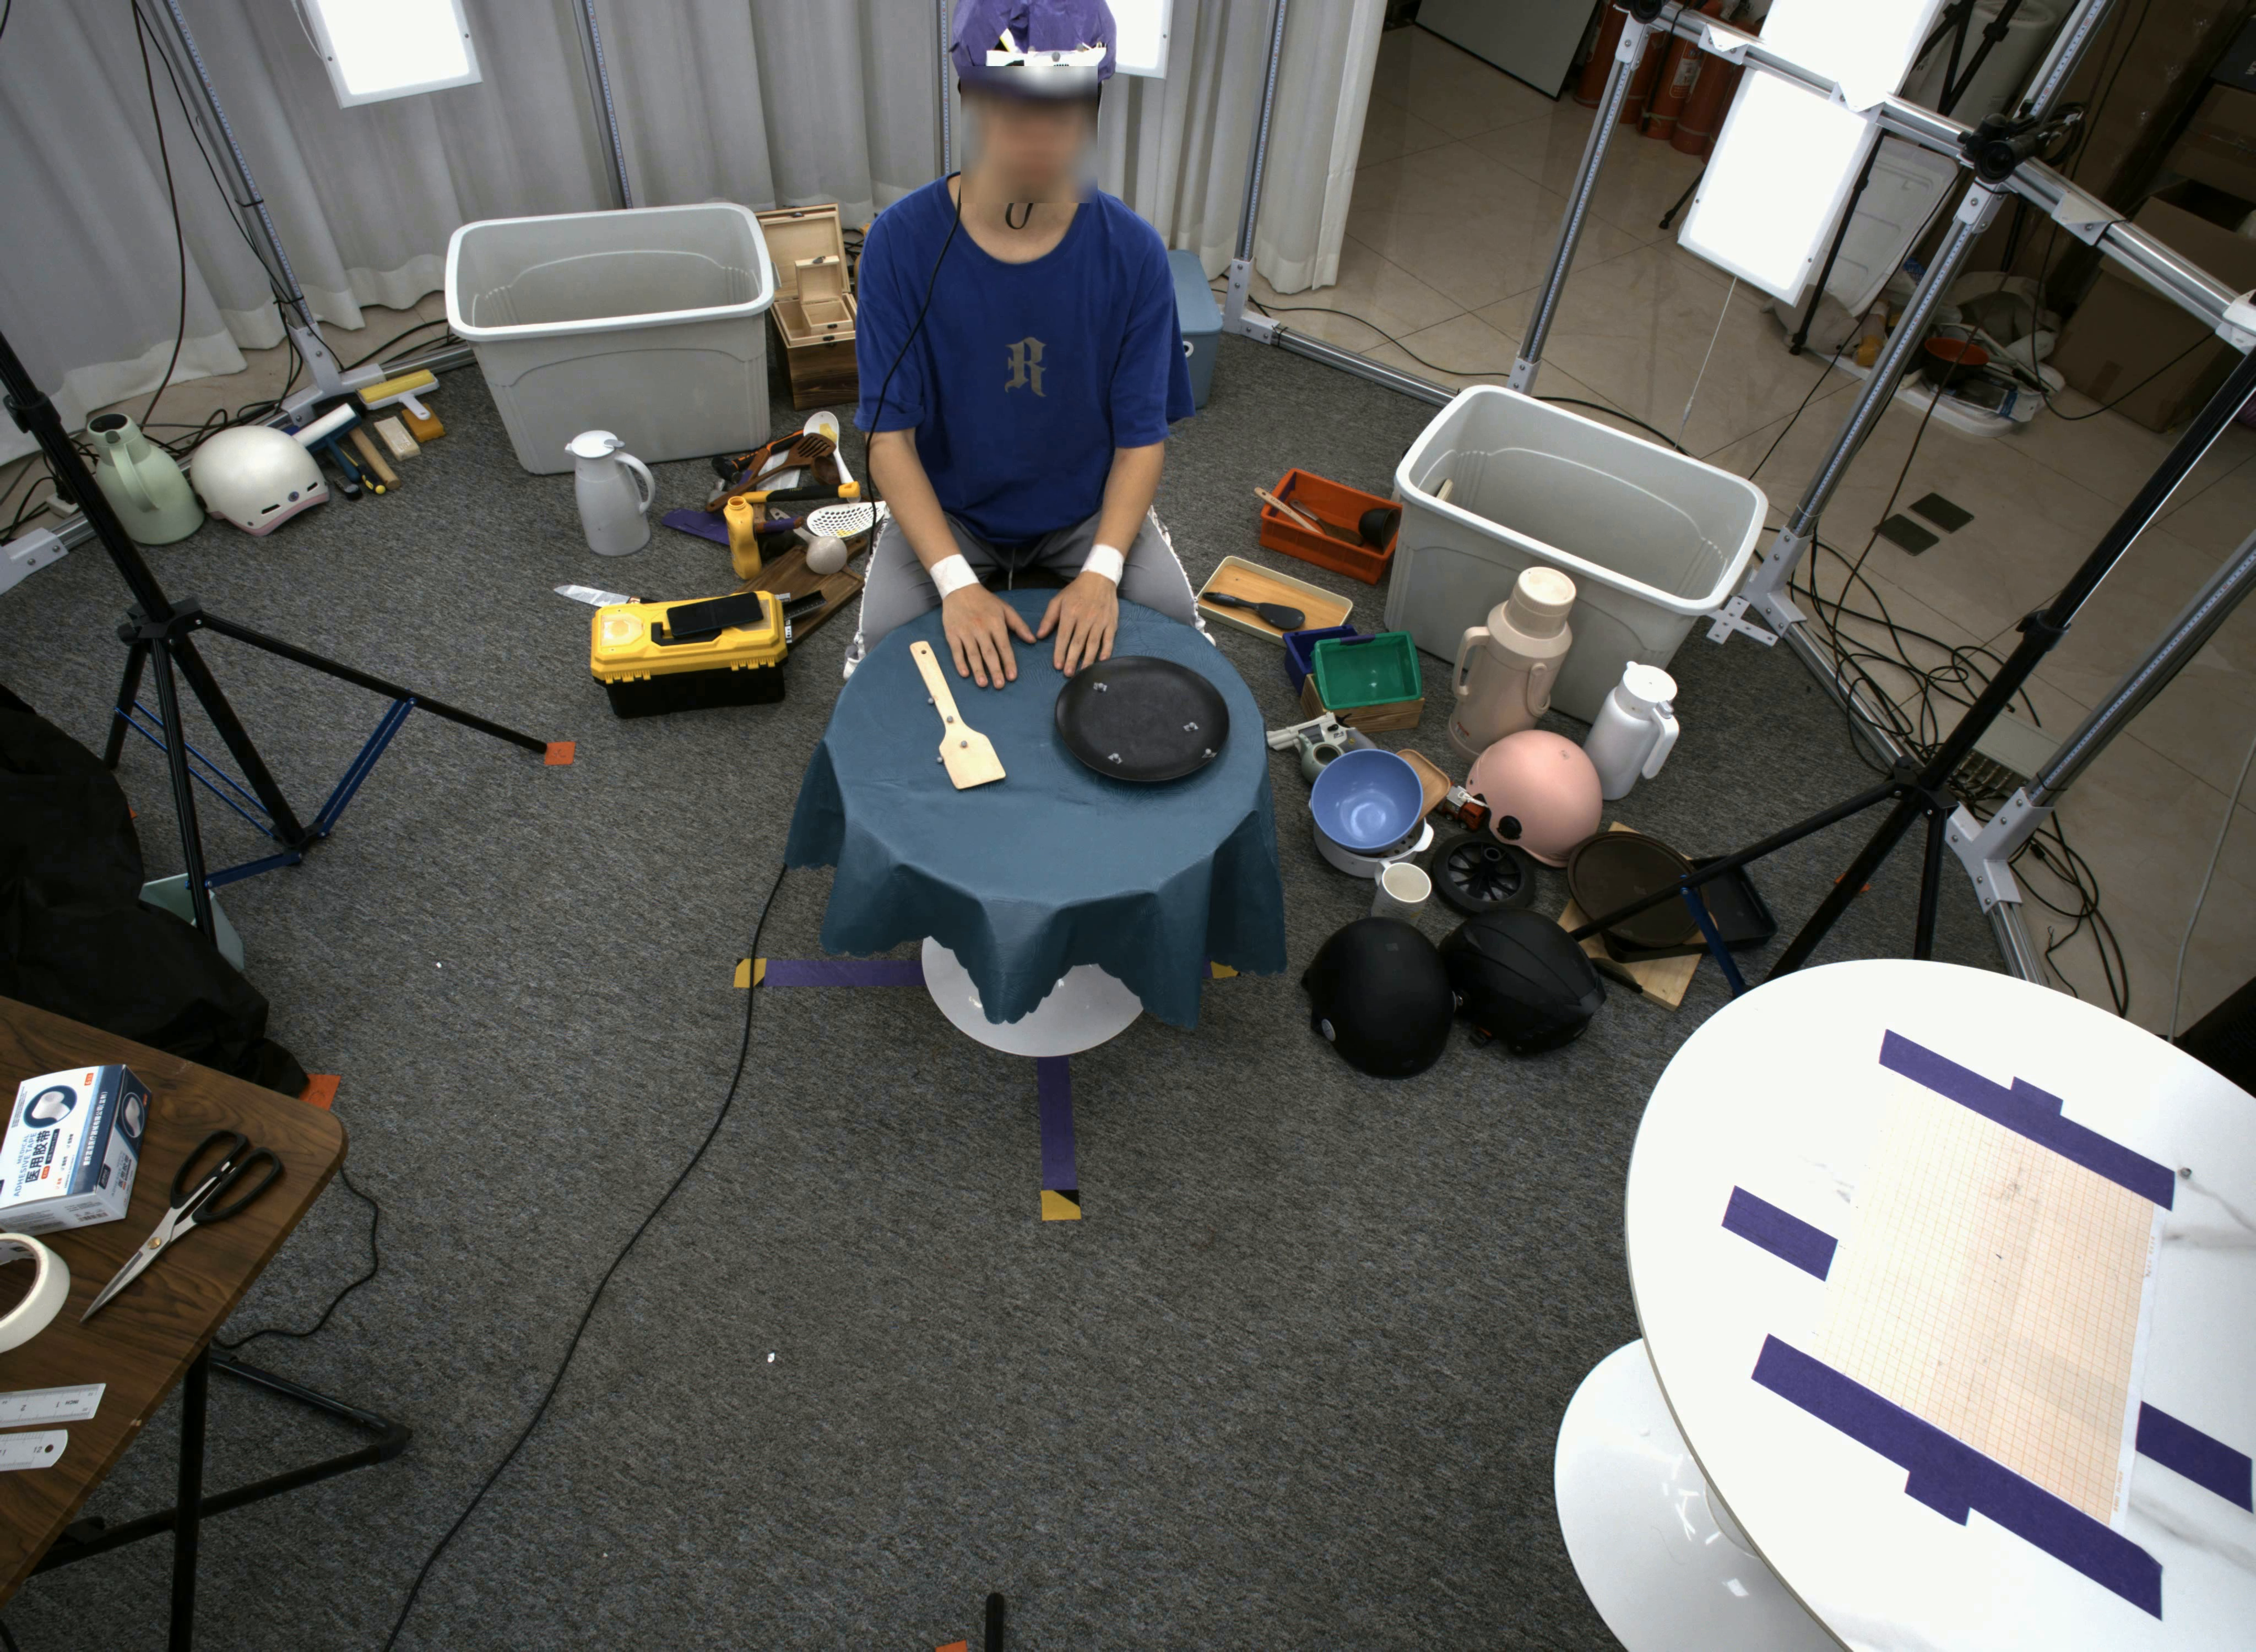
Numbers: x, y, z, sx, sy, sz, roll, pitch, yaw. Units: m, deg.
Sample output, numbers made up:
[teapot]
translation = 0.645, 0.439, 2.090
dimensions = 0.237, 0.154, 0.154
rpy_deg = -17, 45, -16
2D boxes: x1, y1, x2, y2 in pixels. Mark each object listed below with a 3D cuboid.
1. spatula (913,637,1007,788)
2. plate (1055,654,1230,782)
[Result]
[spatula]
translation = -0.248, -0.165, 1.793
dimensions = 0.072, 0.010, 0.300
rpy_deg = -16, 53, -15
[plate]
translation = 0.020, -0.149, 1.787
dimensions = 0.244, 0.023, 0.250
rpy_deg = 2, 50, -2
